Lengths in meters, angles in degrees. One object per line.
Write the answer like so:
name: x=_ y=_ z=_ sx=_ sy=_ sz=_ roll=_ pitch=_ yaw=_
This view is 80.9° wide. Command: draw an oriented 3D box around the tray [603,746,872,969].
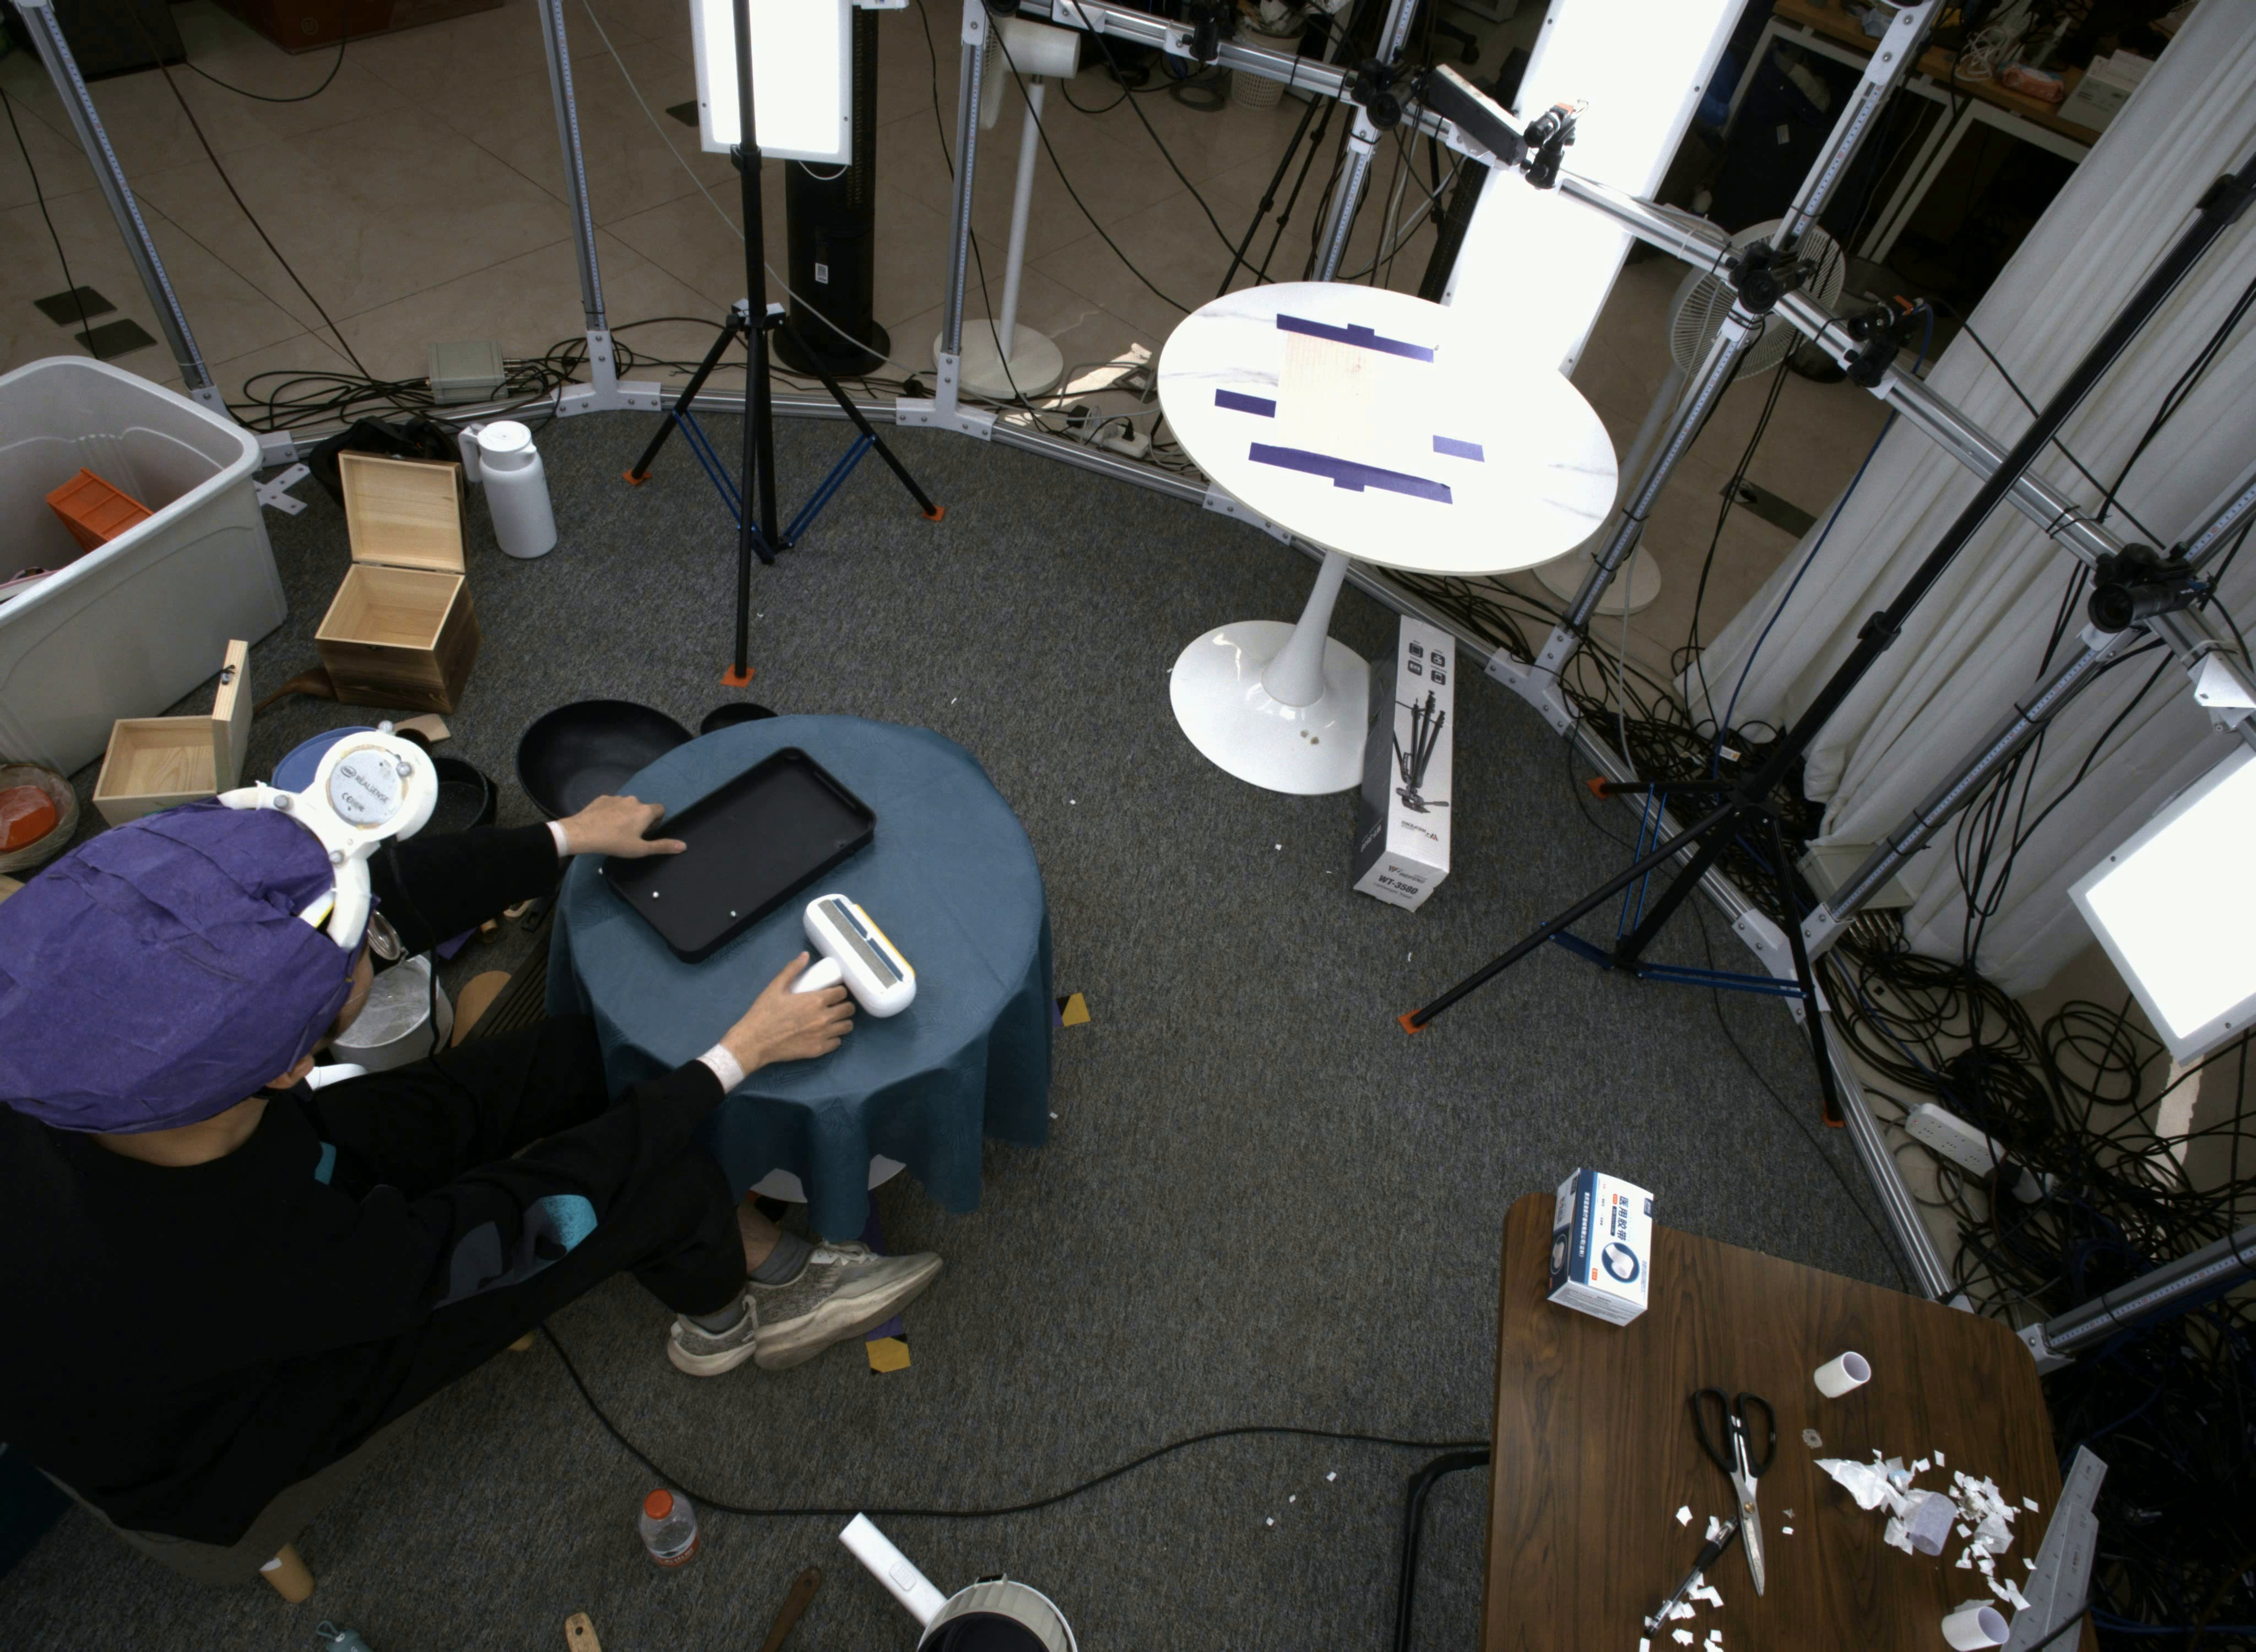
tray: x=-0.499 y=0.032 z=1.664 sx=0.181 sy=0.038 sz=0.318 roll=39 pitch=54 yaw=14

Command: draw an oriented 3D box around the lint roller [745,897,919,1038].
lint roller: x=-0.372 y=0.186 z=1.563 sx=0.193 sy=0.076 sz=0.187 roll=-25 pitch=58 yaw=-27
